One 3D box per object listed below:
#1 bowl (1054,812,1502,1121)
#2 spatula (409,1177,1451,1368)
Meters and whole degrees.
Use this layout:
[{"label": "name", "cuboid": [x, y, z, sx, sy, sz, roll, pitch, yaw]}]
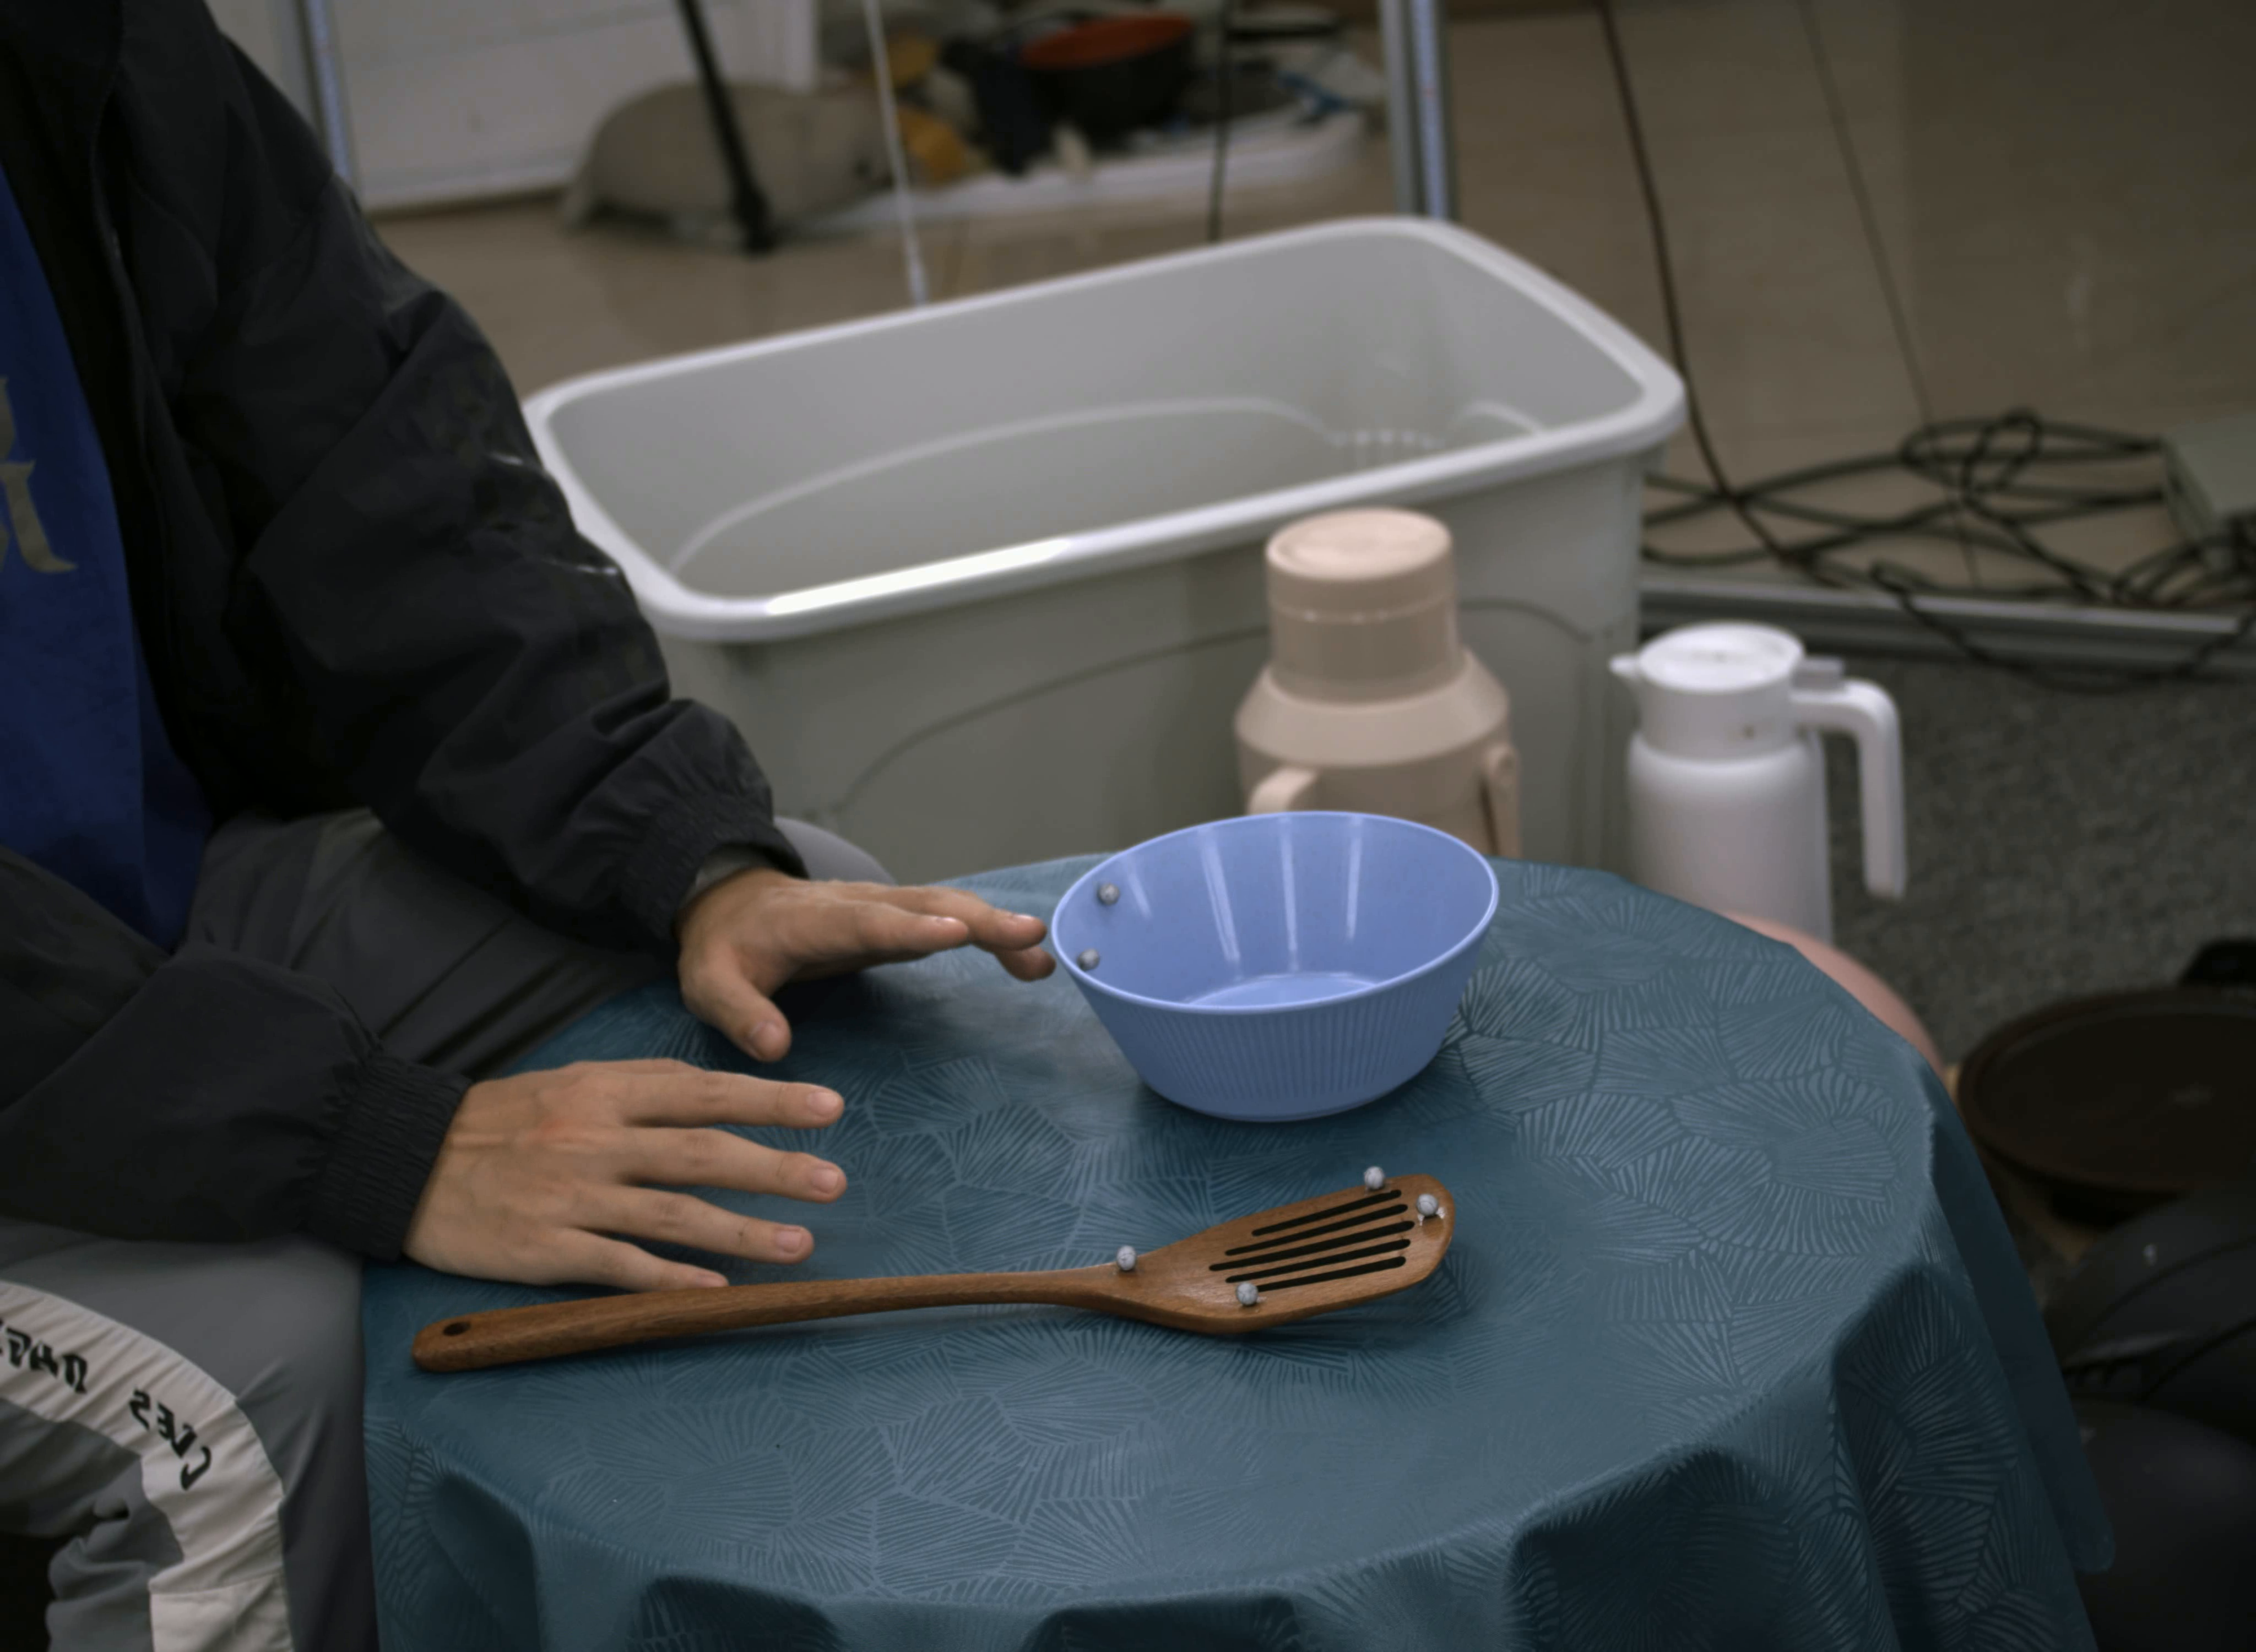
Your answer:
[{"label": "bowl", "cuboid": [0.062, 0.060, 2.216, 0.176, 0.071, 0.173, -6, 24, 3]}, {"label": "spatula", "cuboid": [-0.073, 0.172, 2.071, 0.386, 0.024, 0.084, -6, 24, 5]}]
